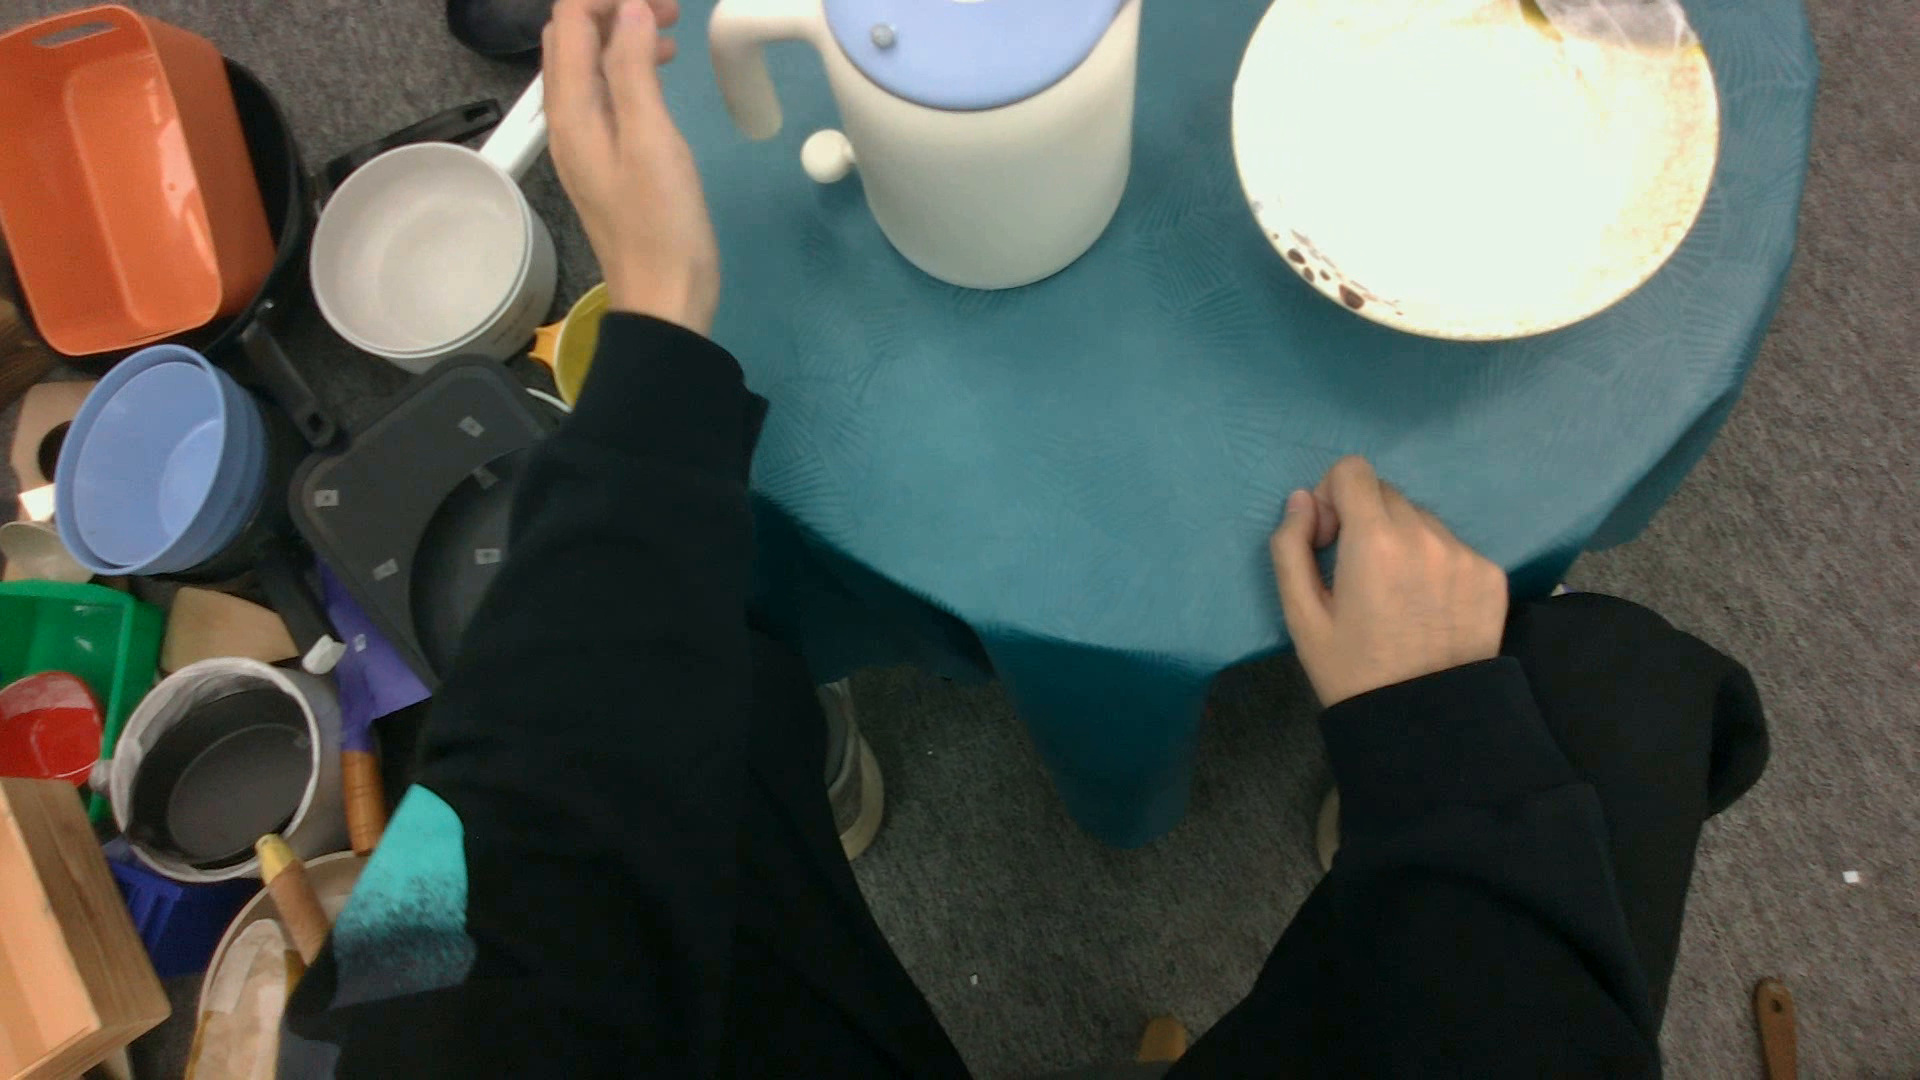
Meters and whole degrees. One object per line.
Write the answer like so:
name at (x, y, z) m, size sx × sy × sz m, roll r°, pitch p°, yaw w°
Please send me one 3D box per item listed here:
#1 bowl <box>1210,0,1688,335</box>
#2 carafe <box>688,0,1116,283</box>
bowl at (0.215, -0.183, 0.638) m, size 0.204 × 0.078 × 0.204 m, roll -1°, pitch 81°, yaw 5°
carafe at (-0.022, -0.204, 0.611) m, size 0.191 × 0.182 × 0.132 m, roll -3°, pitch 77°, yaw 6°
